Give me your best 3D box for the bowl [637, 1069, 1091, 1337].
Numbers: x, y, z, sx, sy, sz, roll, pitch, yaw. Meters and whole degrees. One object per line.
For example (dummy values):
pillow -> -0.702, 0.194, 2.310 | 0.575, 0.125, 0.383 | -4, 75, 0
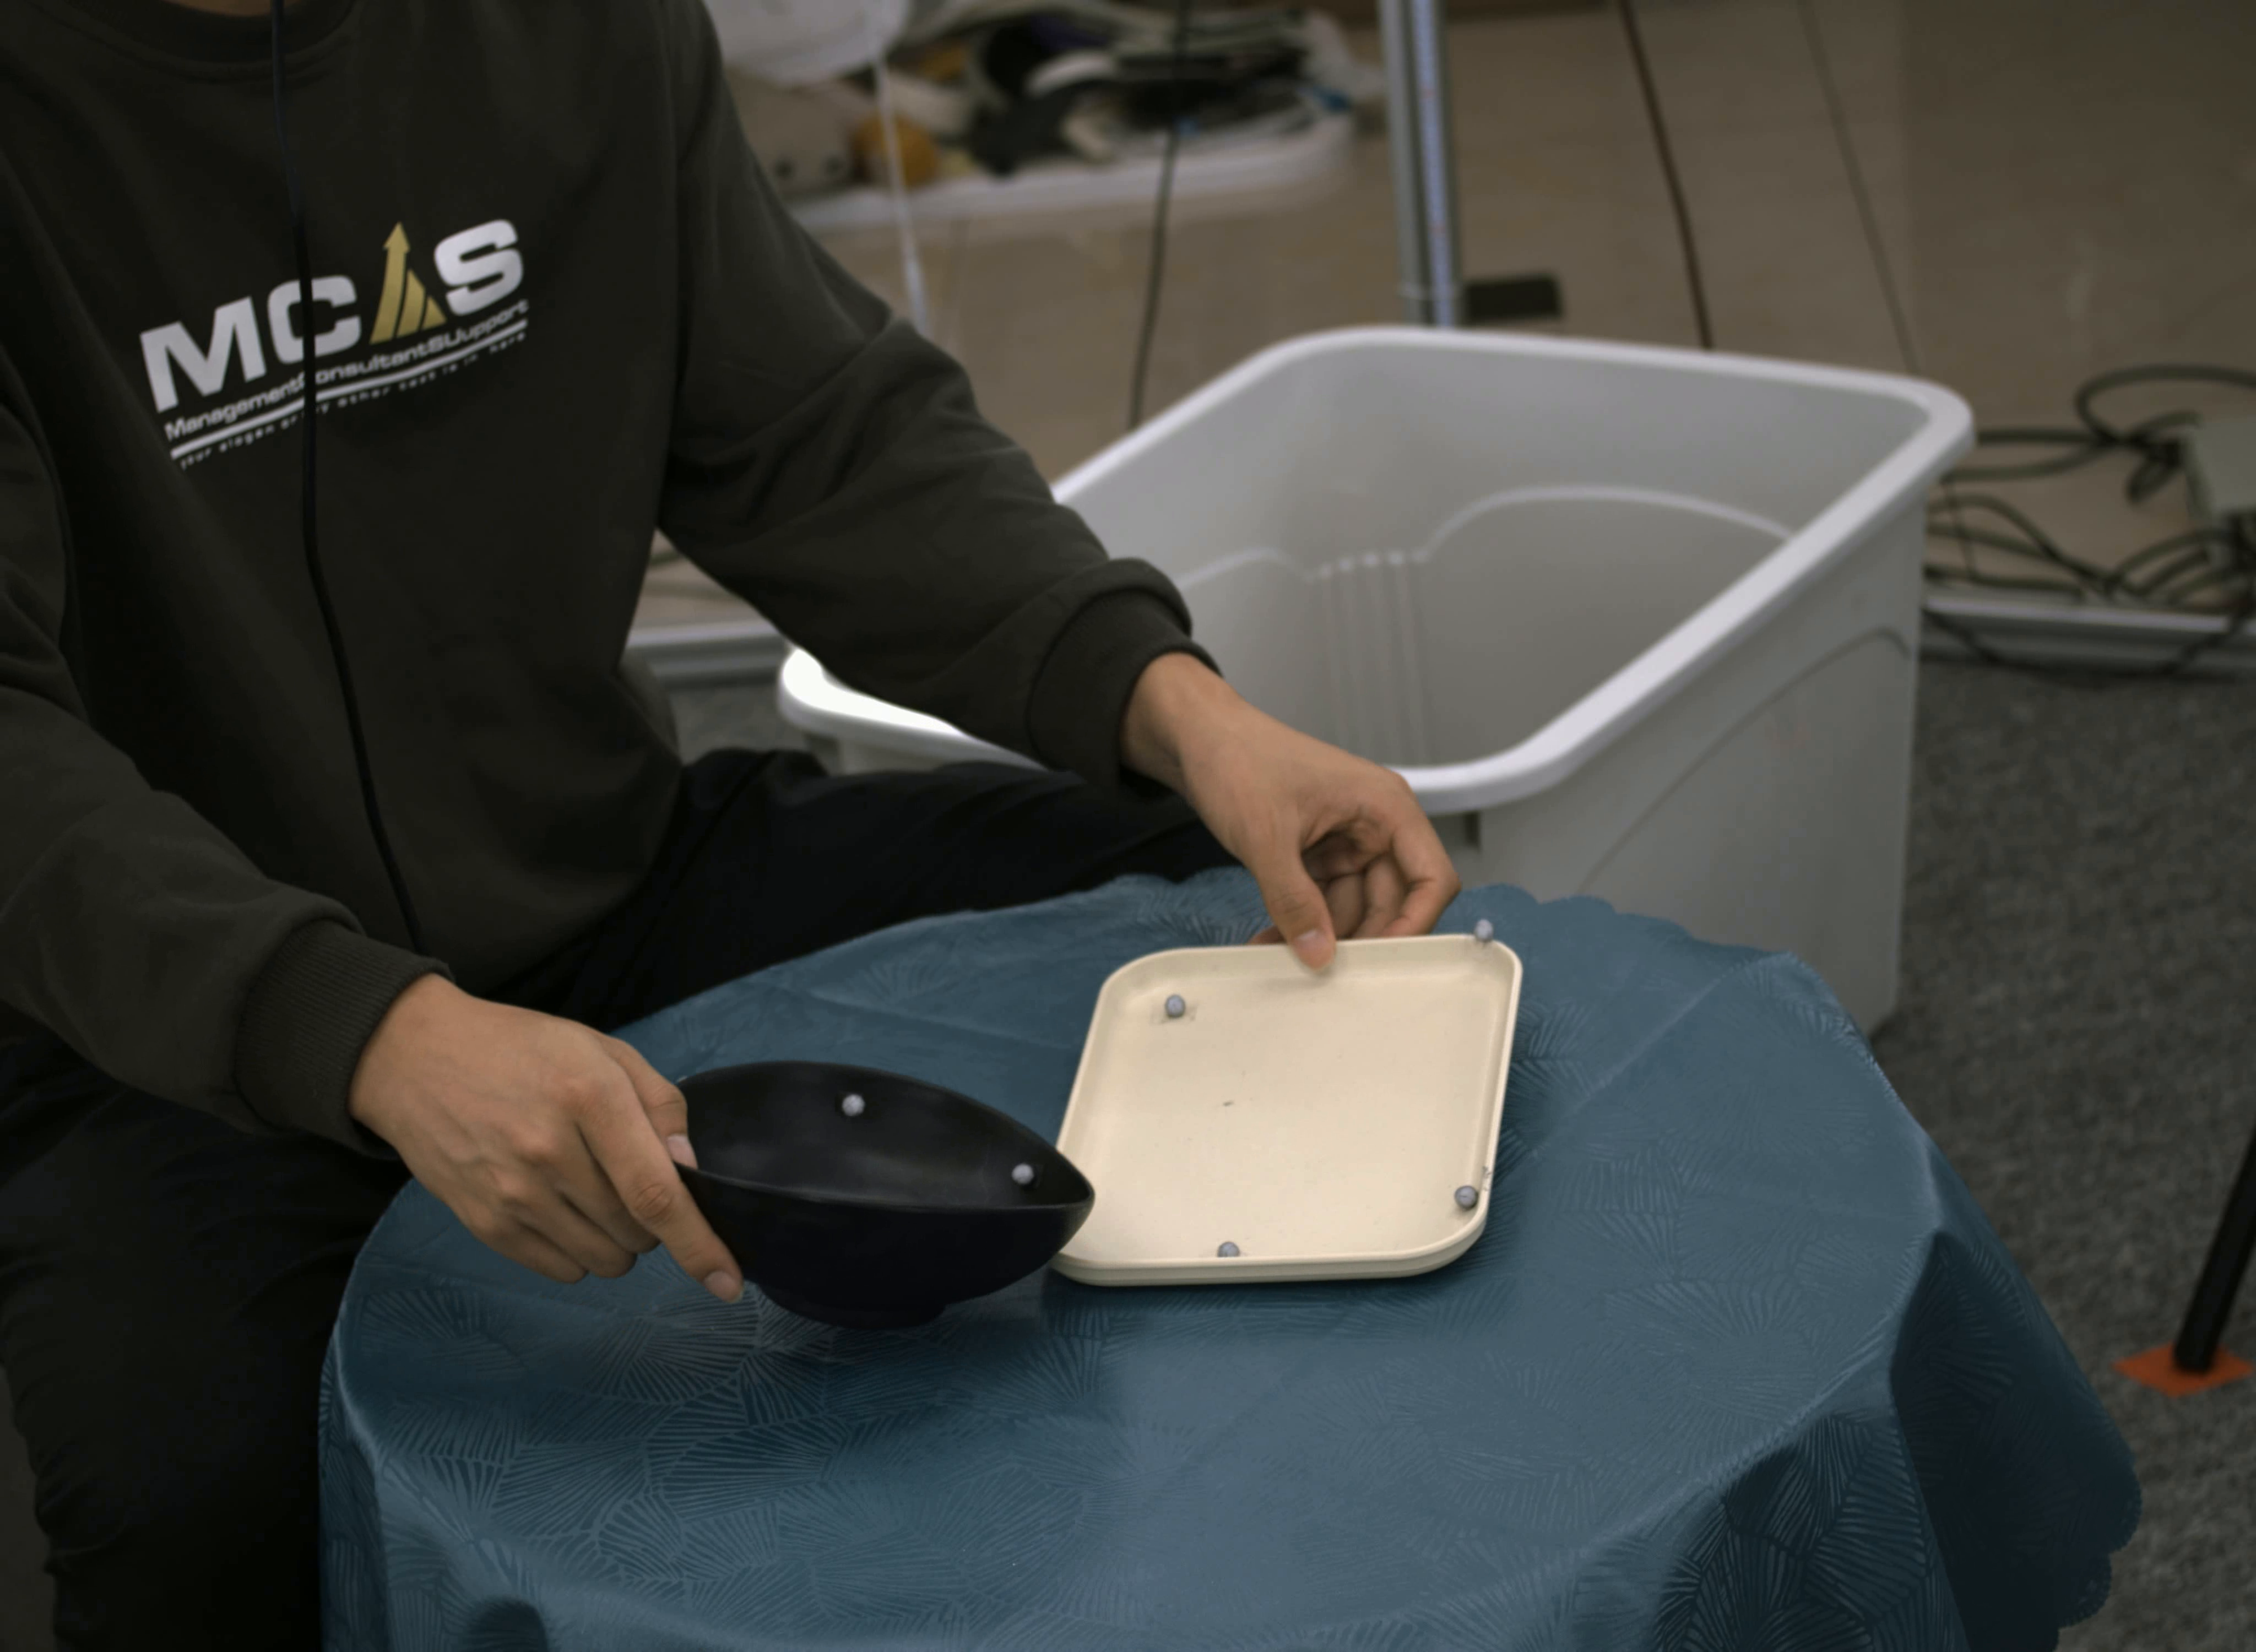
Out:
bowl -> -0.099, 0.142, 2.057 | 0.170, 0.067, 0.135 | 6, 19, -19

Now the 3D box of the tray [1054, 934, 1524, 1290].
tray -> 0.062, 0.109, 2.163 | 0.171, 0.018, 0.236 | -4, 28, 10
